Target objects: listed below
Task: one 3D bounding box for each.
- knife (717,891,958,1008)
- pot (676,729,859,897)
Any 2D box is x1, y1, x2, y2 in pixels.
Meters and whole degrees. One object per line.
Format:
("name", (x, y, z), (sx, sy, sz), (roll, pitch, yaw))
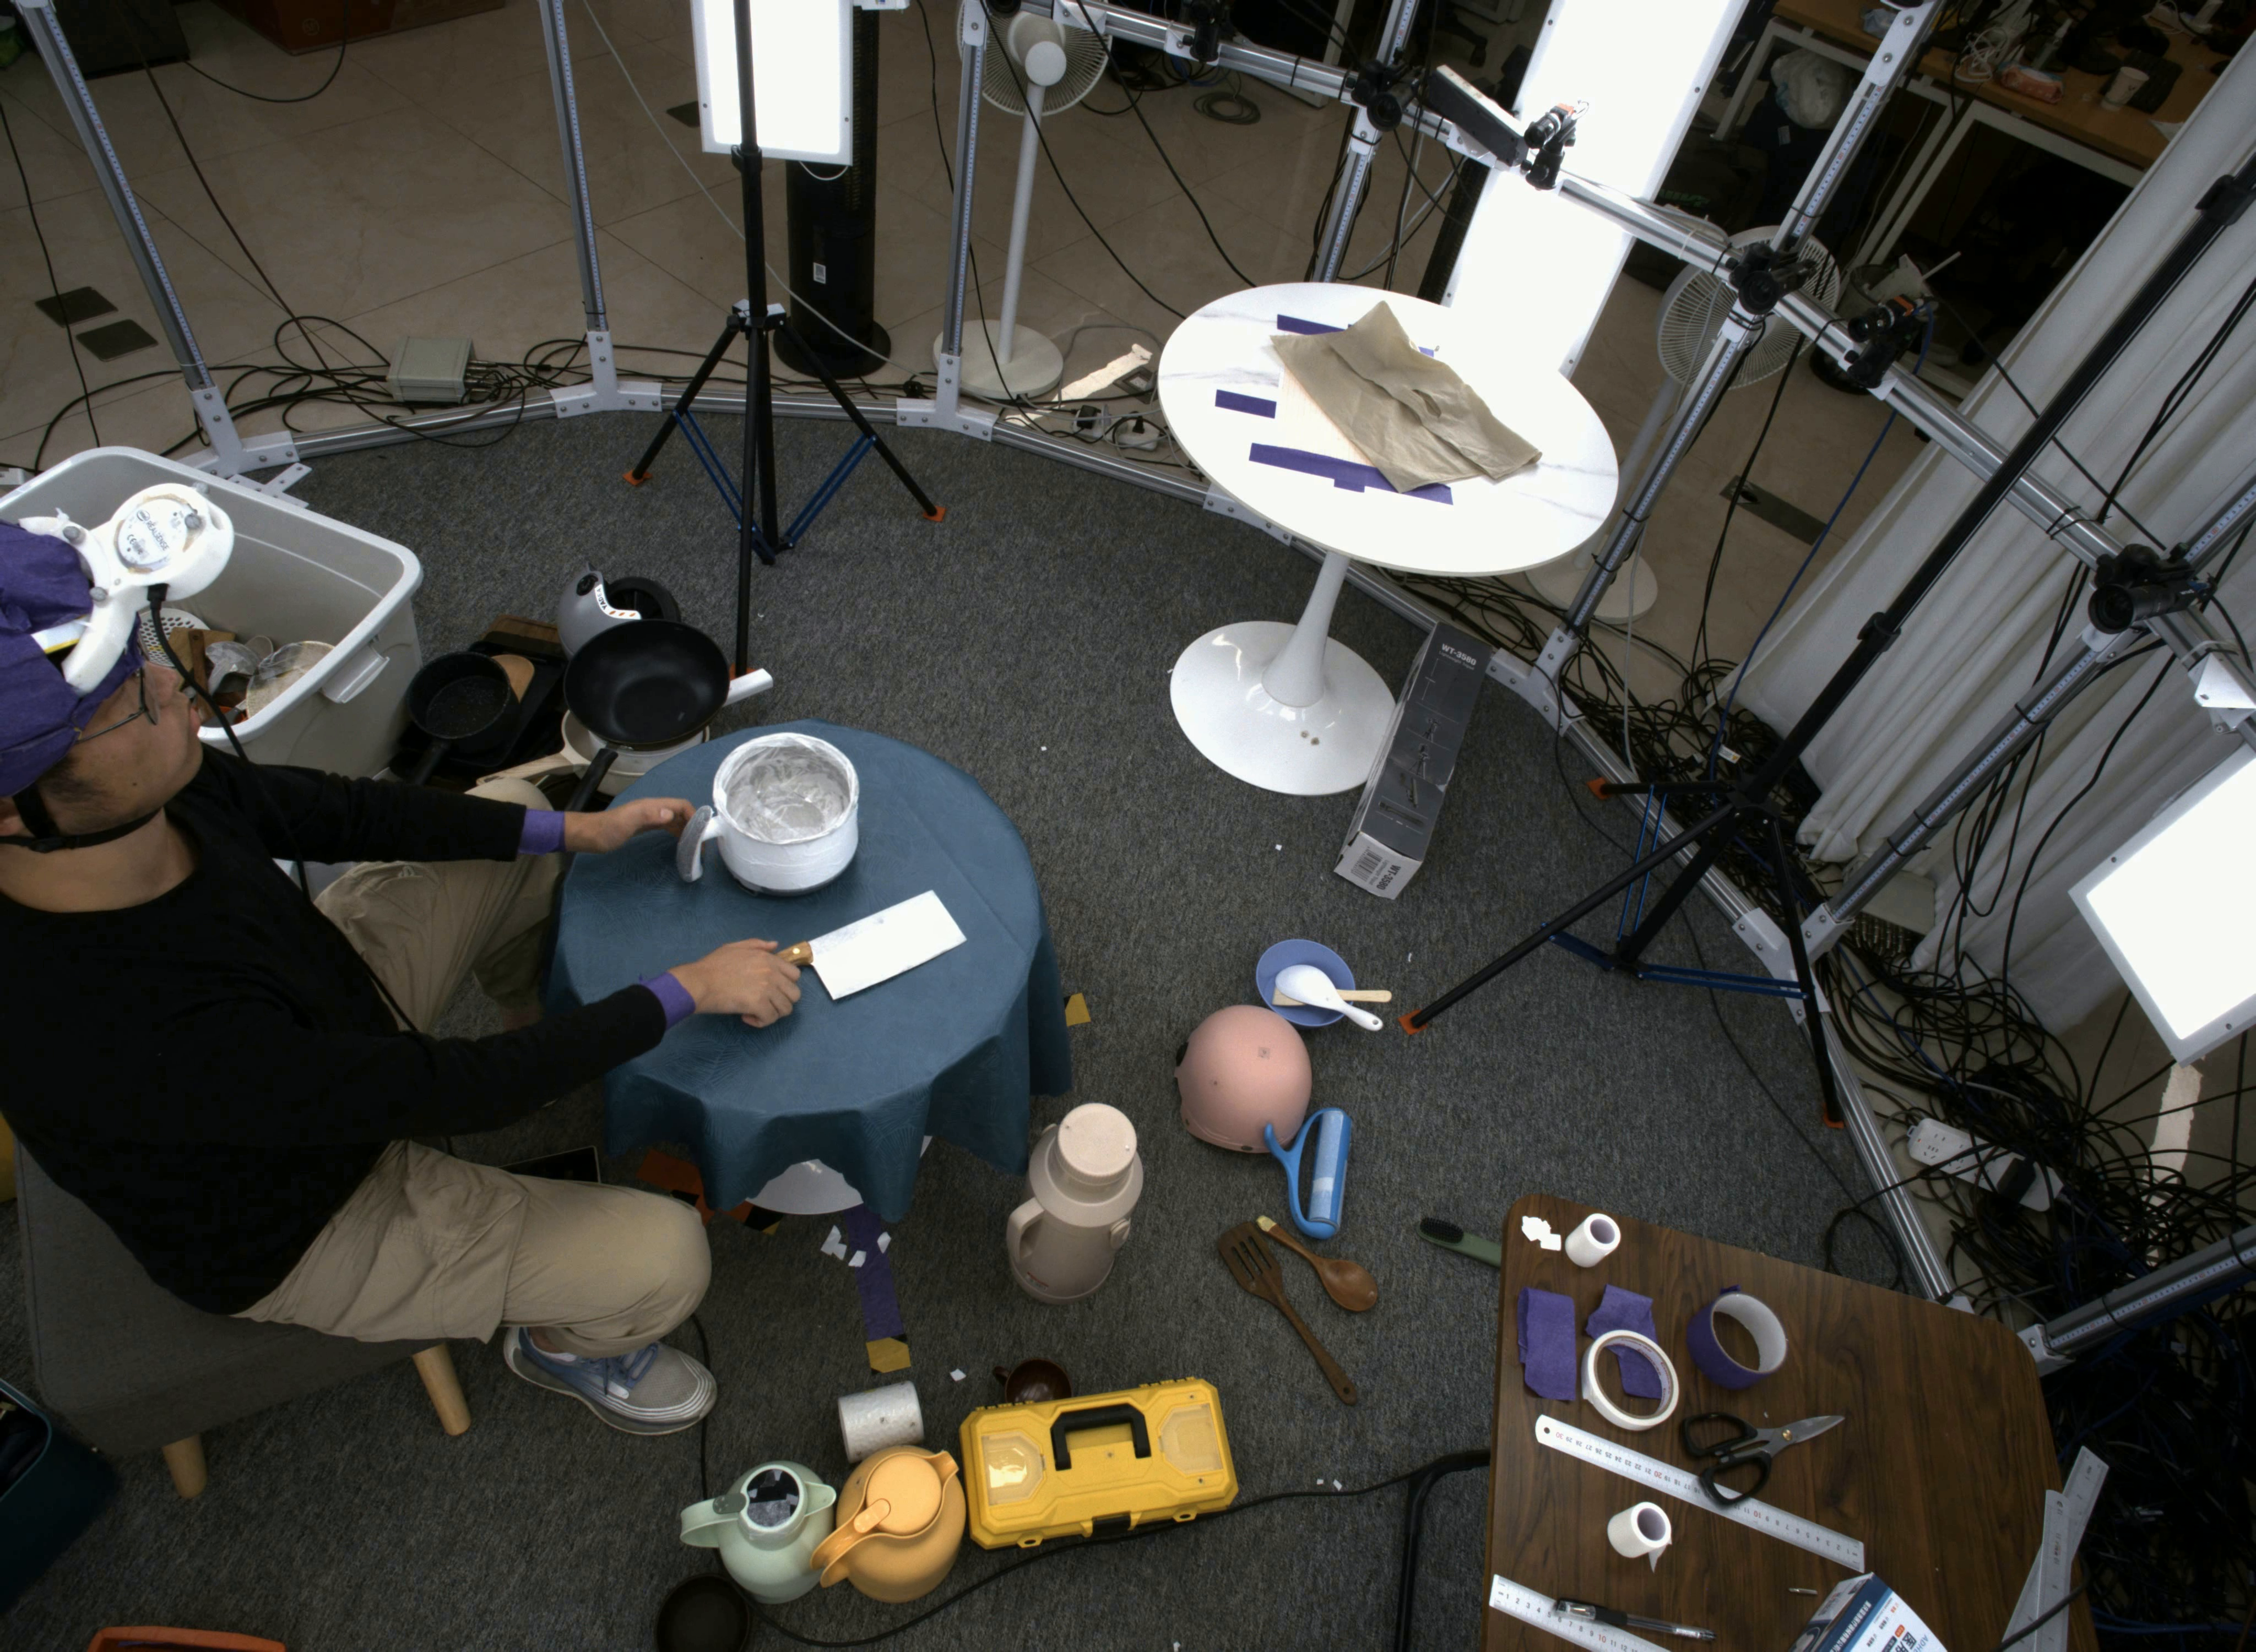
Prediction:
("knife", (-0.352, 0.165, 1.609), (0.307, 0.021, 0.090), (-24, 61, -30))
("pot", (-0.454, -0.004, 1.626), (0.235, 0.139, 0.174), (-21, 60, -28))
